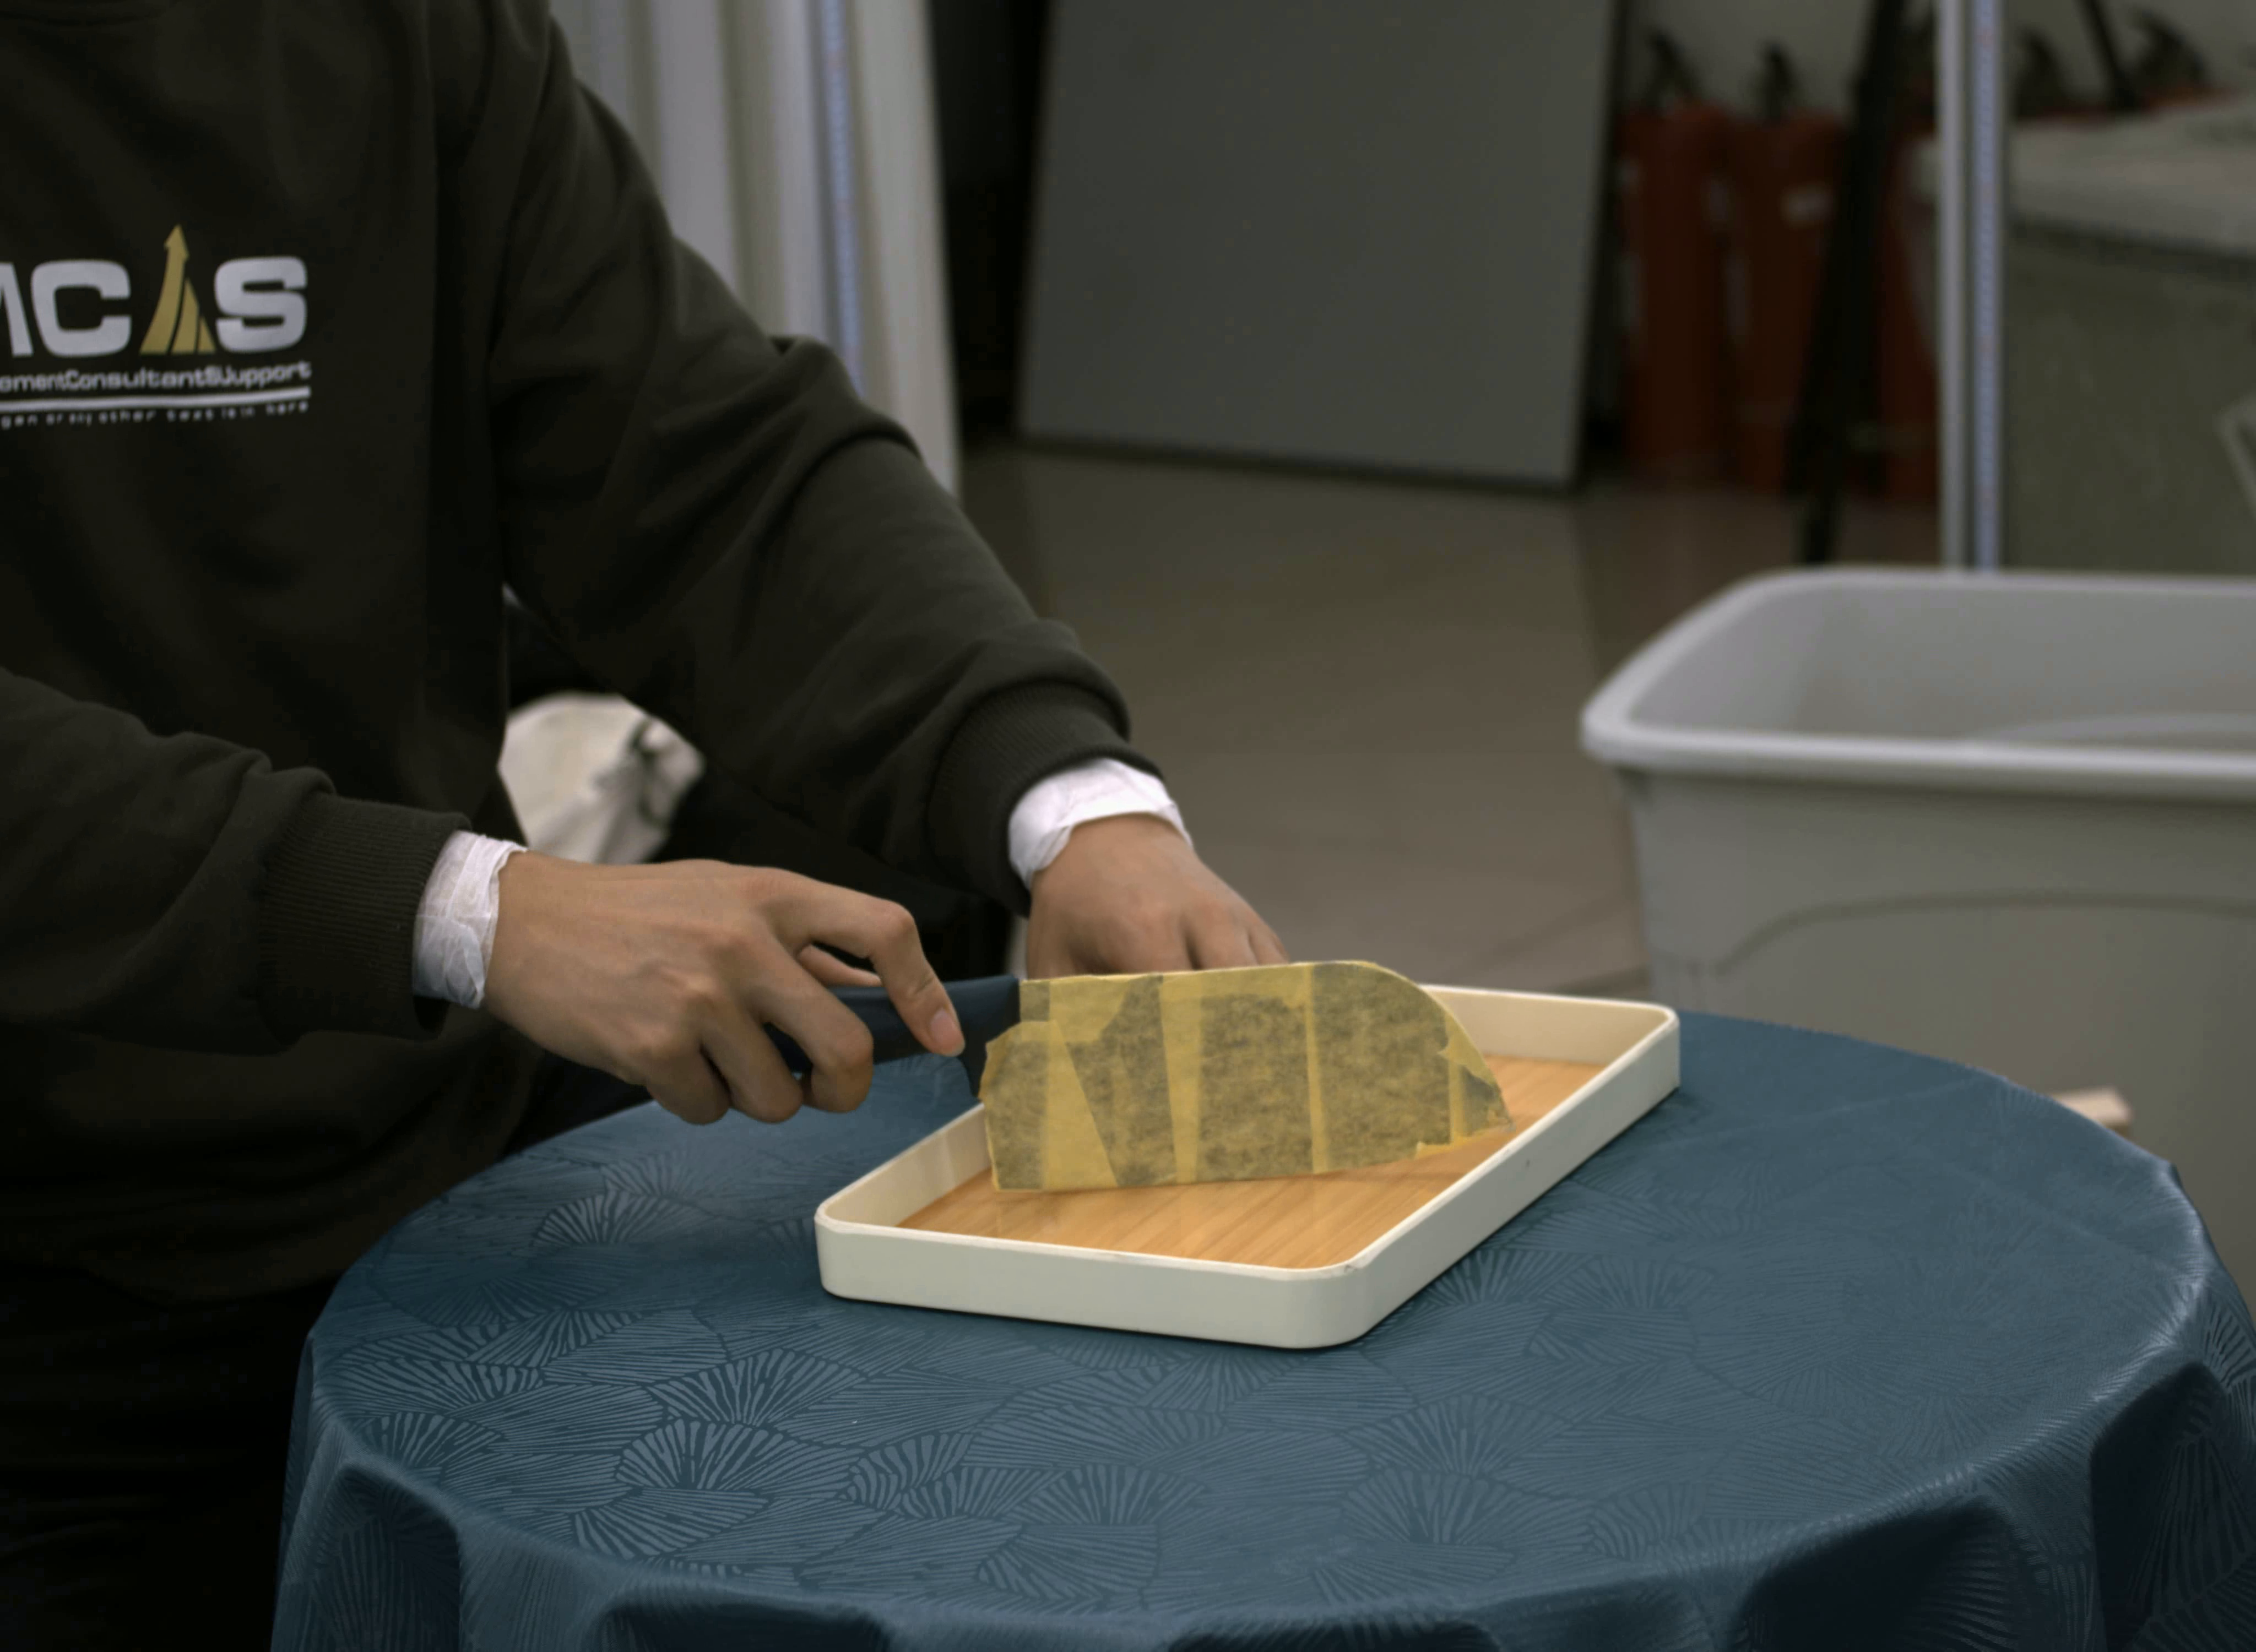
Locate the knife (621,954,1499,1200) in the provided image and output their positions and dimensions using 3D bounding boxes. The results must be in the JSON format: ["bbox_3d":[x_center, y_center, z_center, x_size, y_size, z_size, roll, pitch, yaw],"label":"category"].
[{"bbox_3d":[-0.022,0.083,1.751,0.286,0.082,0.027,-1,12,6],"label":"knife"}]

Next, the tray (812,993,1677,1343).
[{"bbox_3d":[0.045,0.106,1.768,0.192,0.028,0.296,2,14,28],"label":"tray"}]
